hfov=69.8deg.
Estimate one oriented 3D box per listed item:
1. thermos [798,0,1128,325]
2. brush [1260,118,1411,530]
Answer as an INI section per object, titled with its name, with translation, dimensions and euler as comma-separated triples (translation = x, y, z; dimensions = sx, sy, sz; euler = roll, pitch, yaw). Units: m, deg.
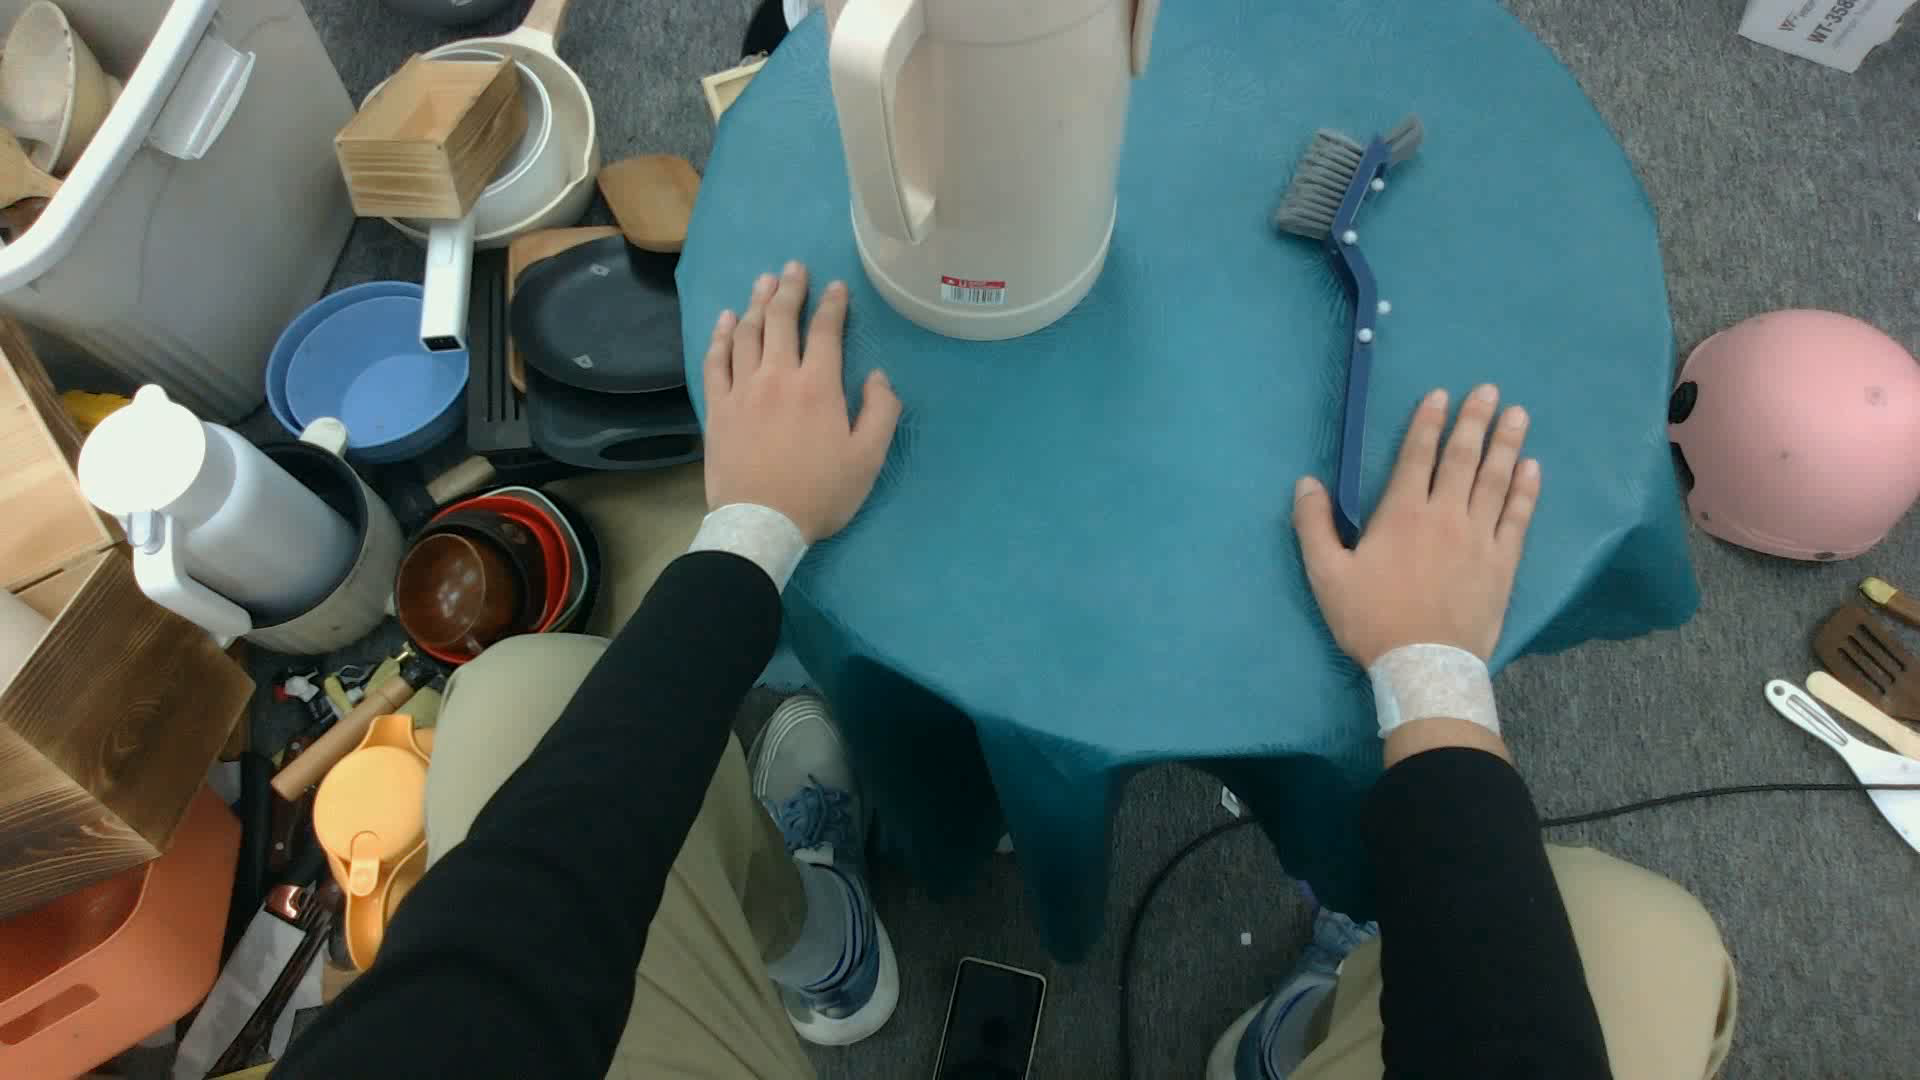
[thermos]
translation = -0.009, -0.256, 0.662
dimensions = 0.175, 0.405, 0.207
euler = 25, 72, 7
[brush]
translation = 0.230, -0.136, 0.812
dimensions = 0.096, 0.033, 0.274
euler = 1, 68, 2
